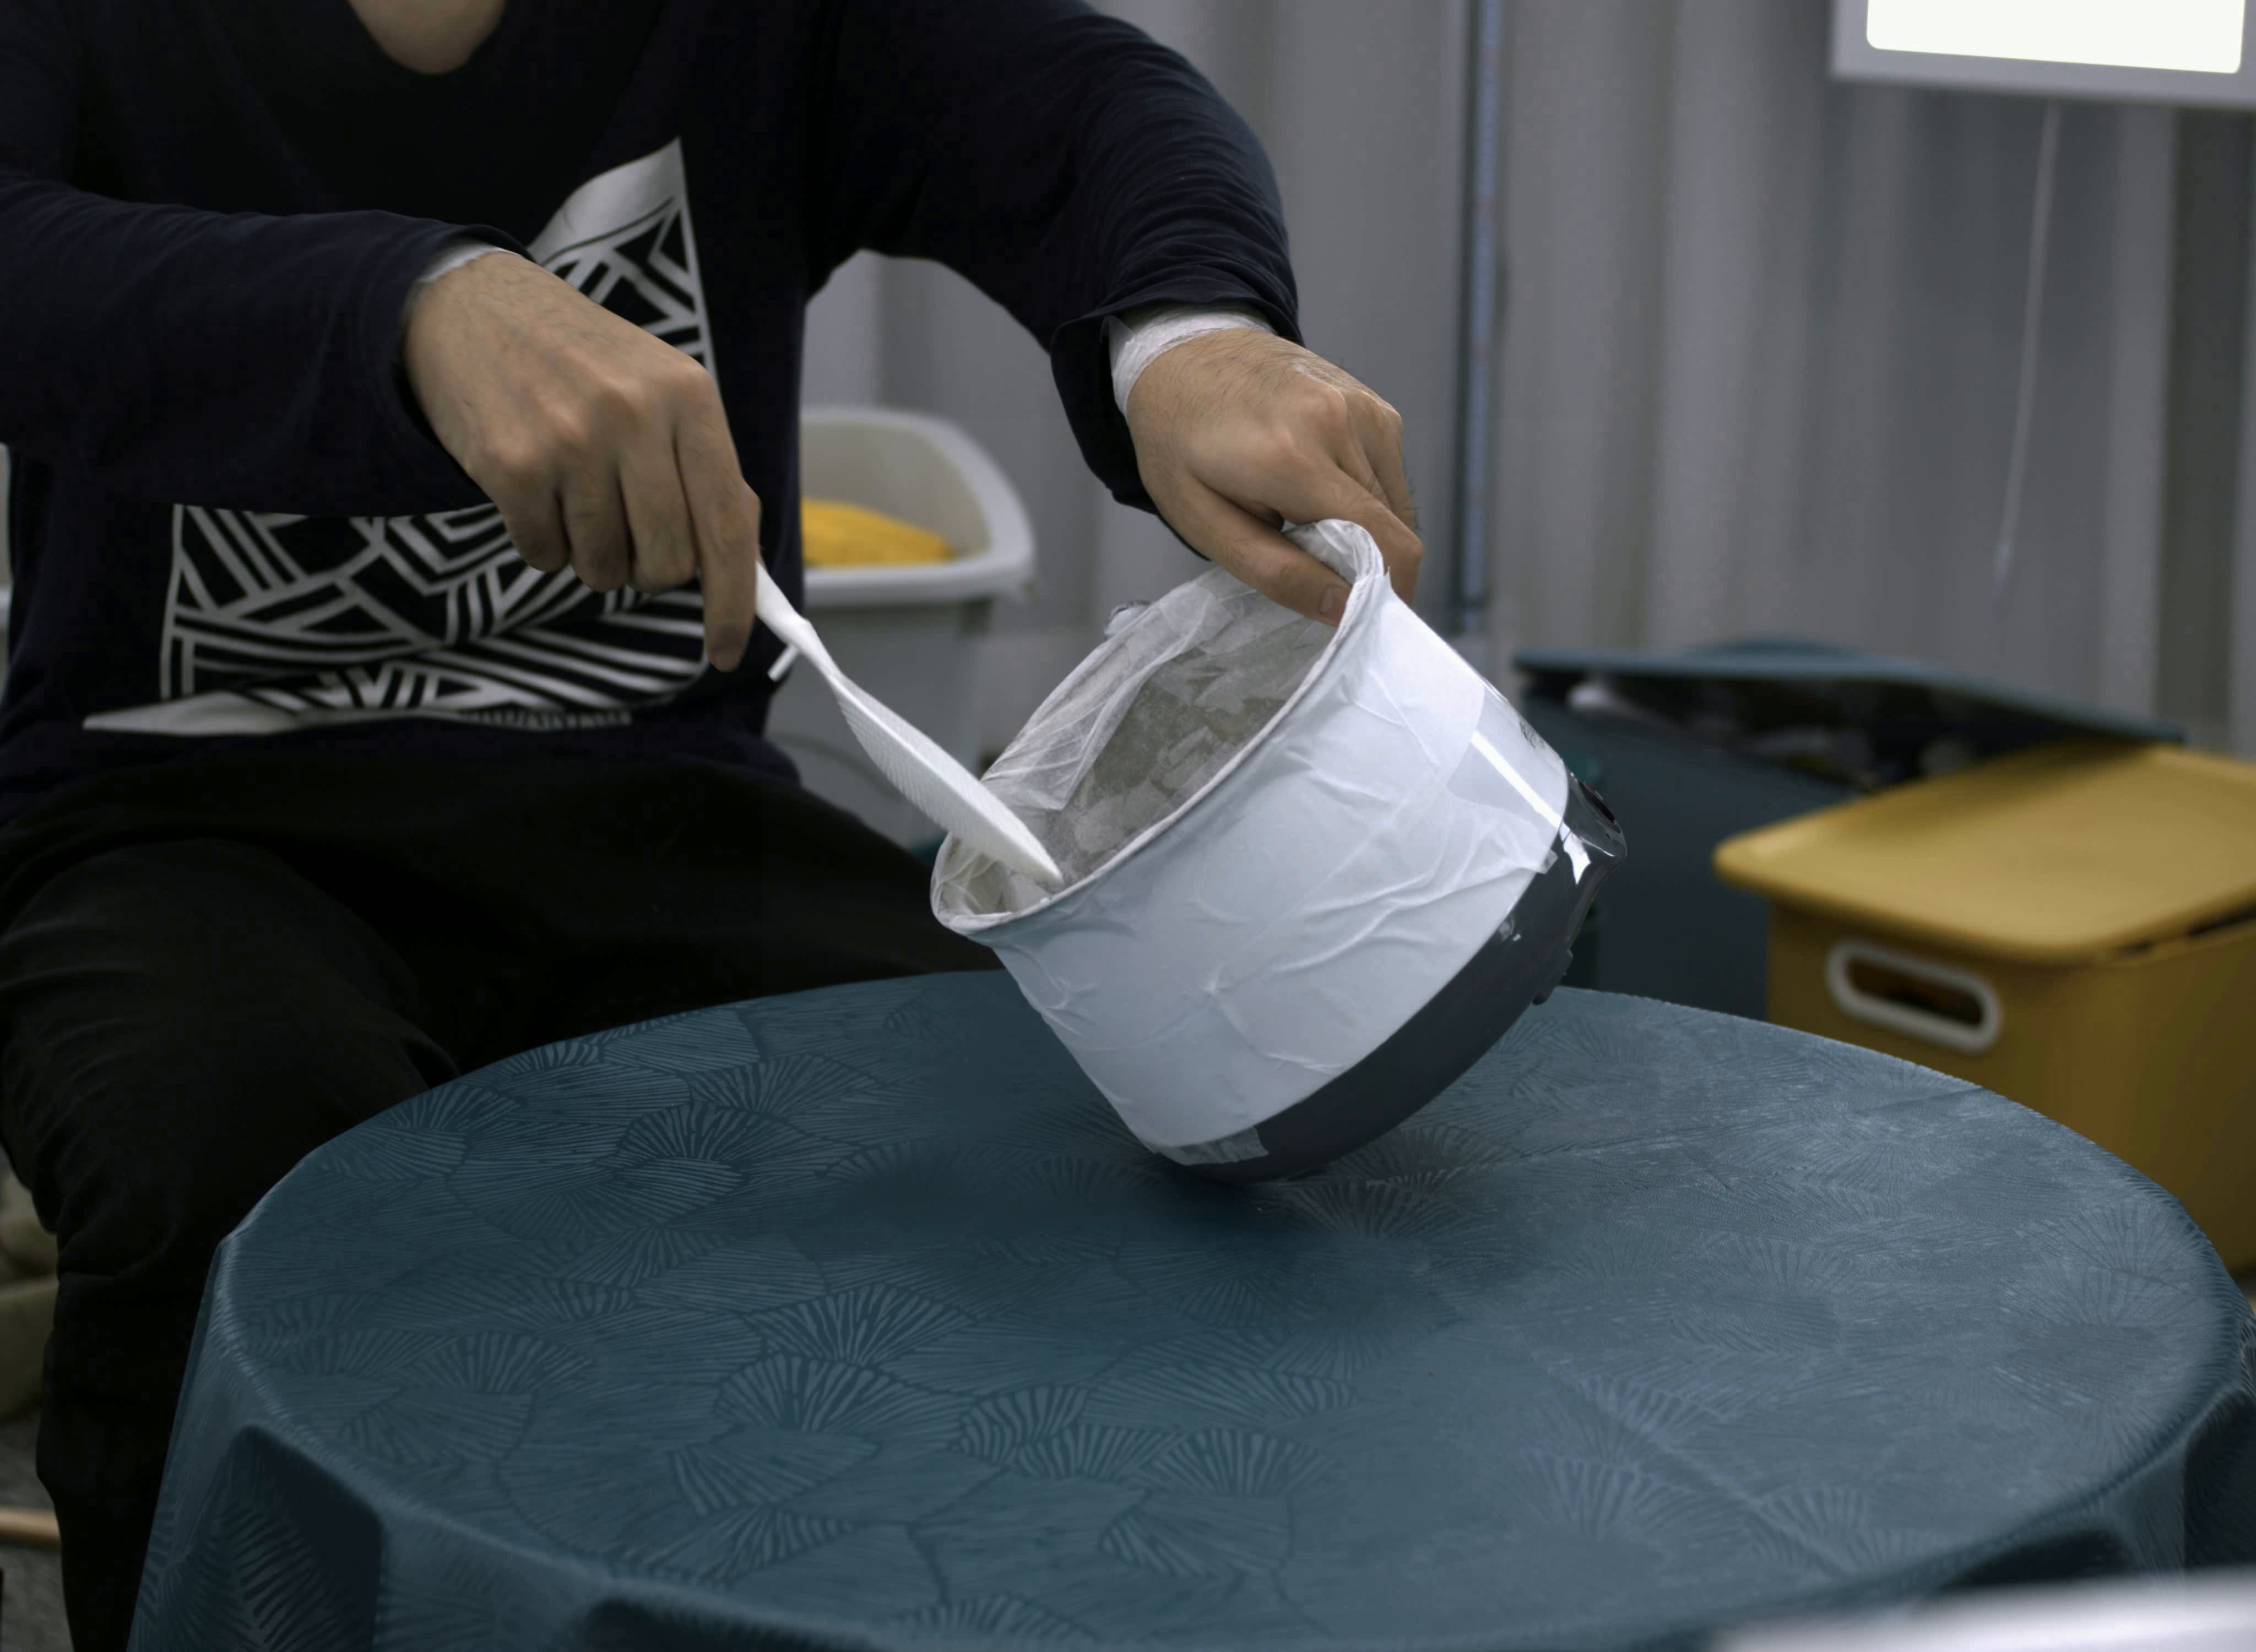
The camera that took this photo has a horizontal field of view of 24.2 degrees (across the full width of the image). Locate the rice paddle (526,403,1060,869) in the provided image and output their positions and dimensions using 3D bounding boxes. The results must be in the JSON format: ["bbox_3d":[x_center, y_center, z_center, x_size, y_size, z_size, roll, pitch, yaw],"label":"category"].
[{"bbox_3d":[-0.098,-0.054,1.619,0.205,0.029,0.069,40,4,0],"label":"rice paddle"}]

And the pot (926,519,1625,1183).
[{"bbox_3d":[0.043,0.003,1.651,0.178,0.138,0.232,-37,20,7],"label":"pot"}]
